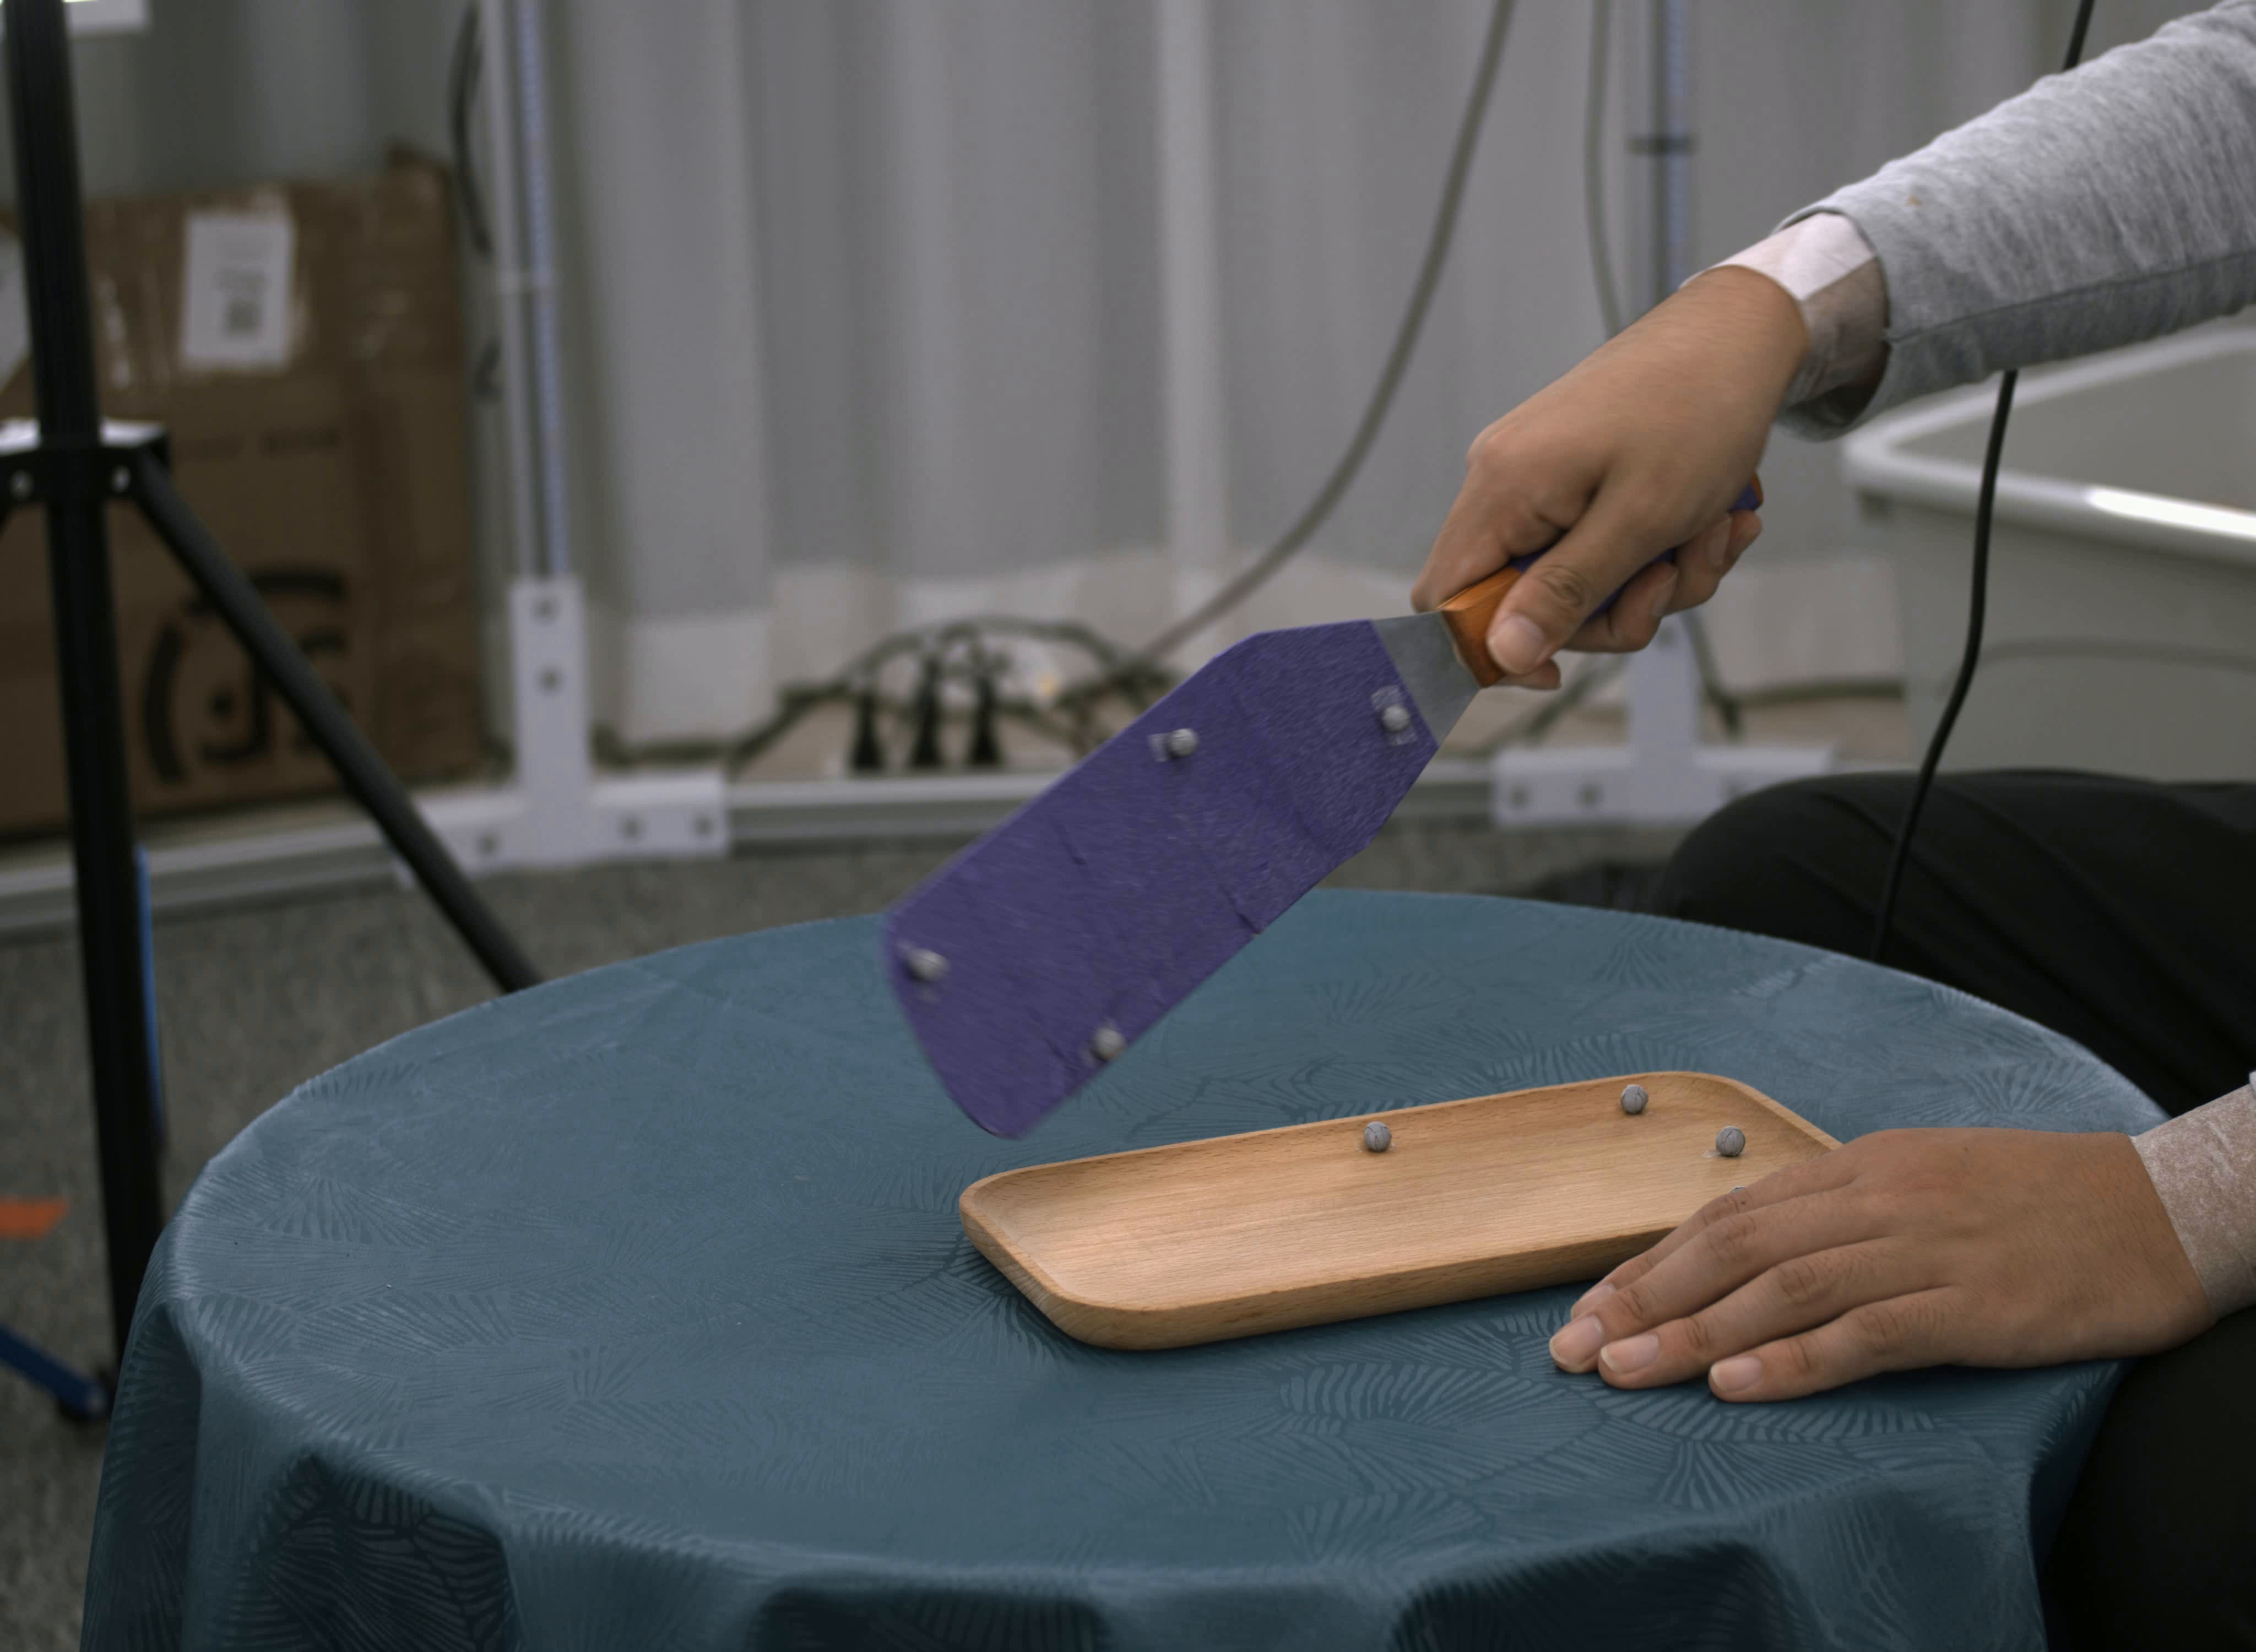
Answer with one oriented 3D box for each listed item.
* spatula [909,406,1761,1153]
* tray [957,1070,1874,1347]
[{"bbox_3d":[0.070,-0.025,1.537,0.354,0.075,0.088,-34,14,-22],"label":"spatula"},{"bbox_3d":[0.082,0.108,1.511,0.246,0.023,0.132,-8,13,-17],"label":"tray"}]
